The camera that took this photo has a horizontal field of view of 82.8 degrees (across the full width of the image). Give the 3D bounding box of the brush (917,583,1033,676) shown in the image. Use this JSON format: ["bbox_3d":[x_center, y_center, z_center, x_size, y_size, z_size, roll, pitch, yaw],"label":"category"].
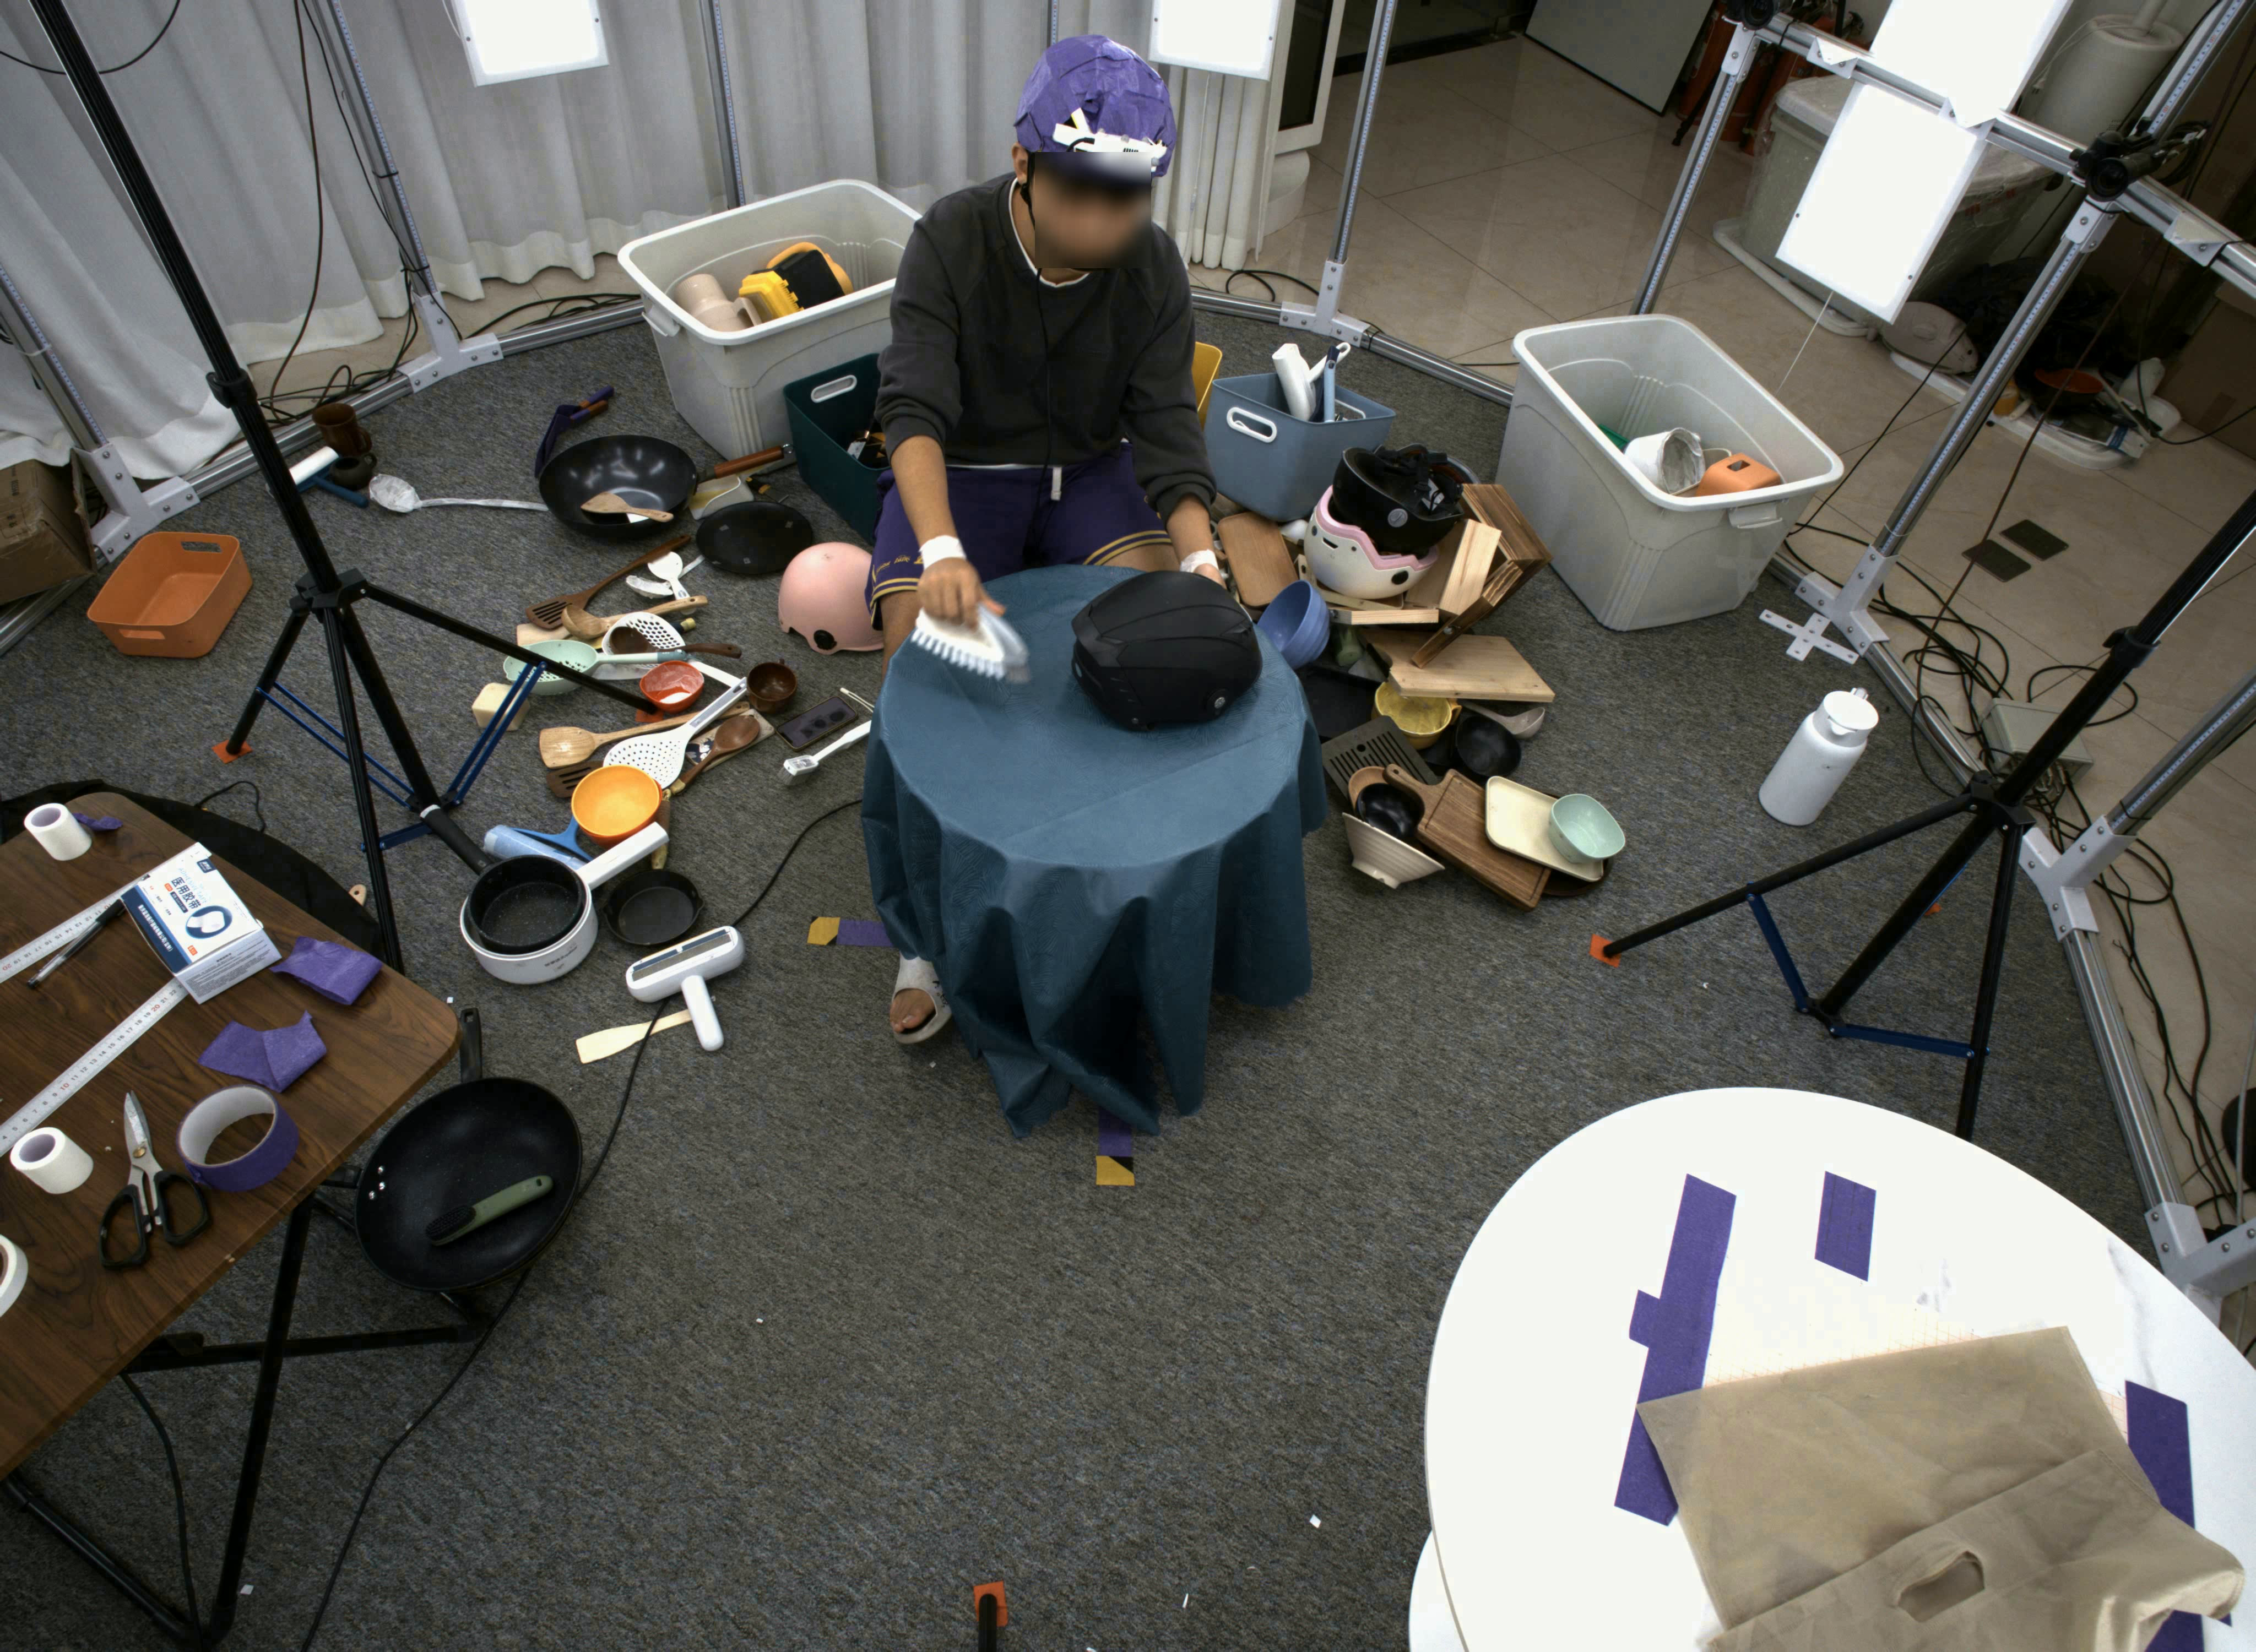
[{"bbox_3d":[-0.201,-0.272,1.750,0.176,0.092,0.062,27,48,13],"label":"brush"}]

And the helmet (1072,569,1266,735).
[{"bbox_3d":[0.056,-0.265,1.798,0.277,0.168,0.252,-17,53,-13],"label":"helmet"}]
